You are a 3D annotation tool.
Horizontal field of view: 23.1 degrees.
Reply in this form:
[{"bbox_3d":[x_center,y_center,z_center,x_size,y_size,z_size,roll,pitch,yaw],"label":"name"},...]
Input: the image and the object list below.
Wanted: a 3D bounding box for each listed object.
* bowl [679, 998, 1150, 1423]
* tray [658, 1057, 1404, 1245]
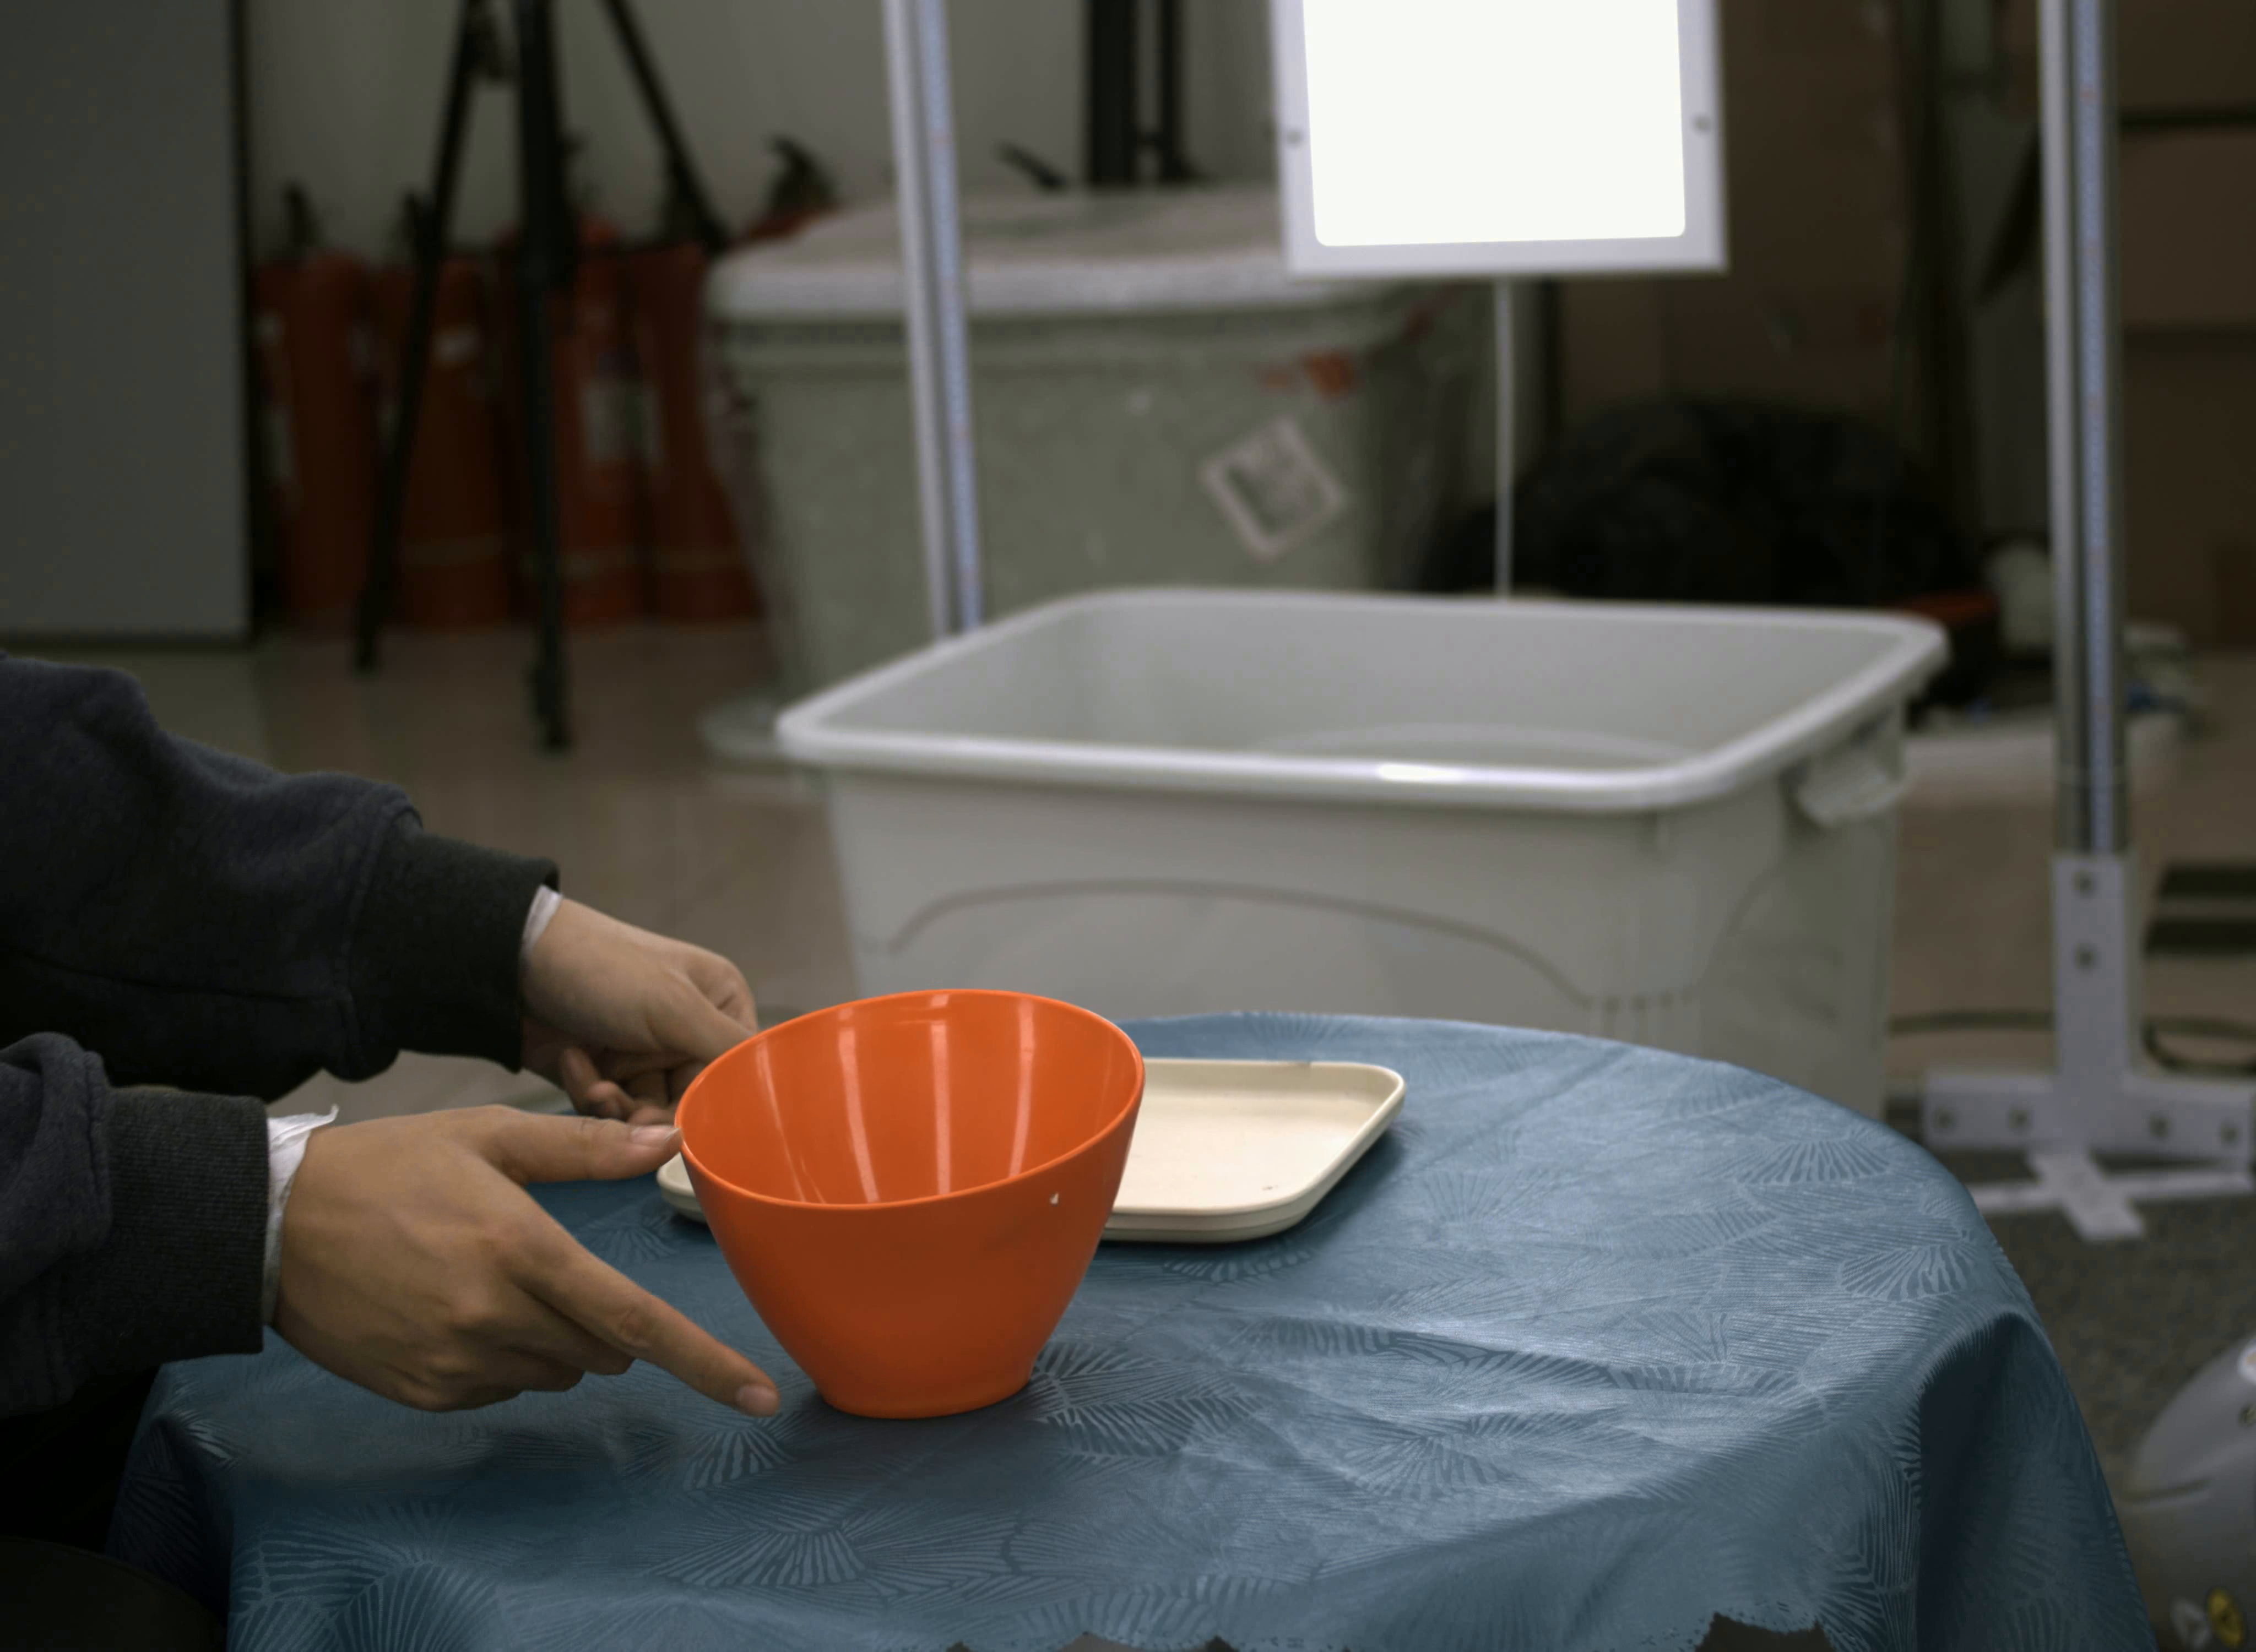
[{"bbox_3d":[-0.064,0.123,1.722,0.147,0.105,0.148,-3,13,-1],"label":"bowl"},{"bbox_3d":[-0.032,0.113,1.929,0.243,0.017,0.168,0,15,21],"label":"tray"}]
